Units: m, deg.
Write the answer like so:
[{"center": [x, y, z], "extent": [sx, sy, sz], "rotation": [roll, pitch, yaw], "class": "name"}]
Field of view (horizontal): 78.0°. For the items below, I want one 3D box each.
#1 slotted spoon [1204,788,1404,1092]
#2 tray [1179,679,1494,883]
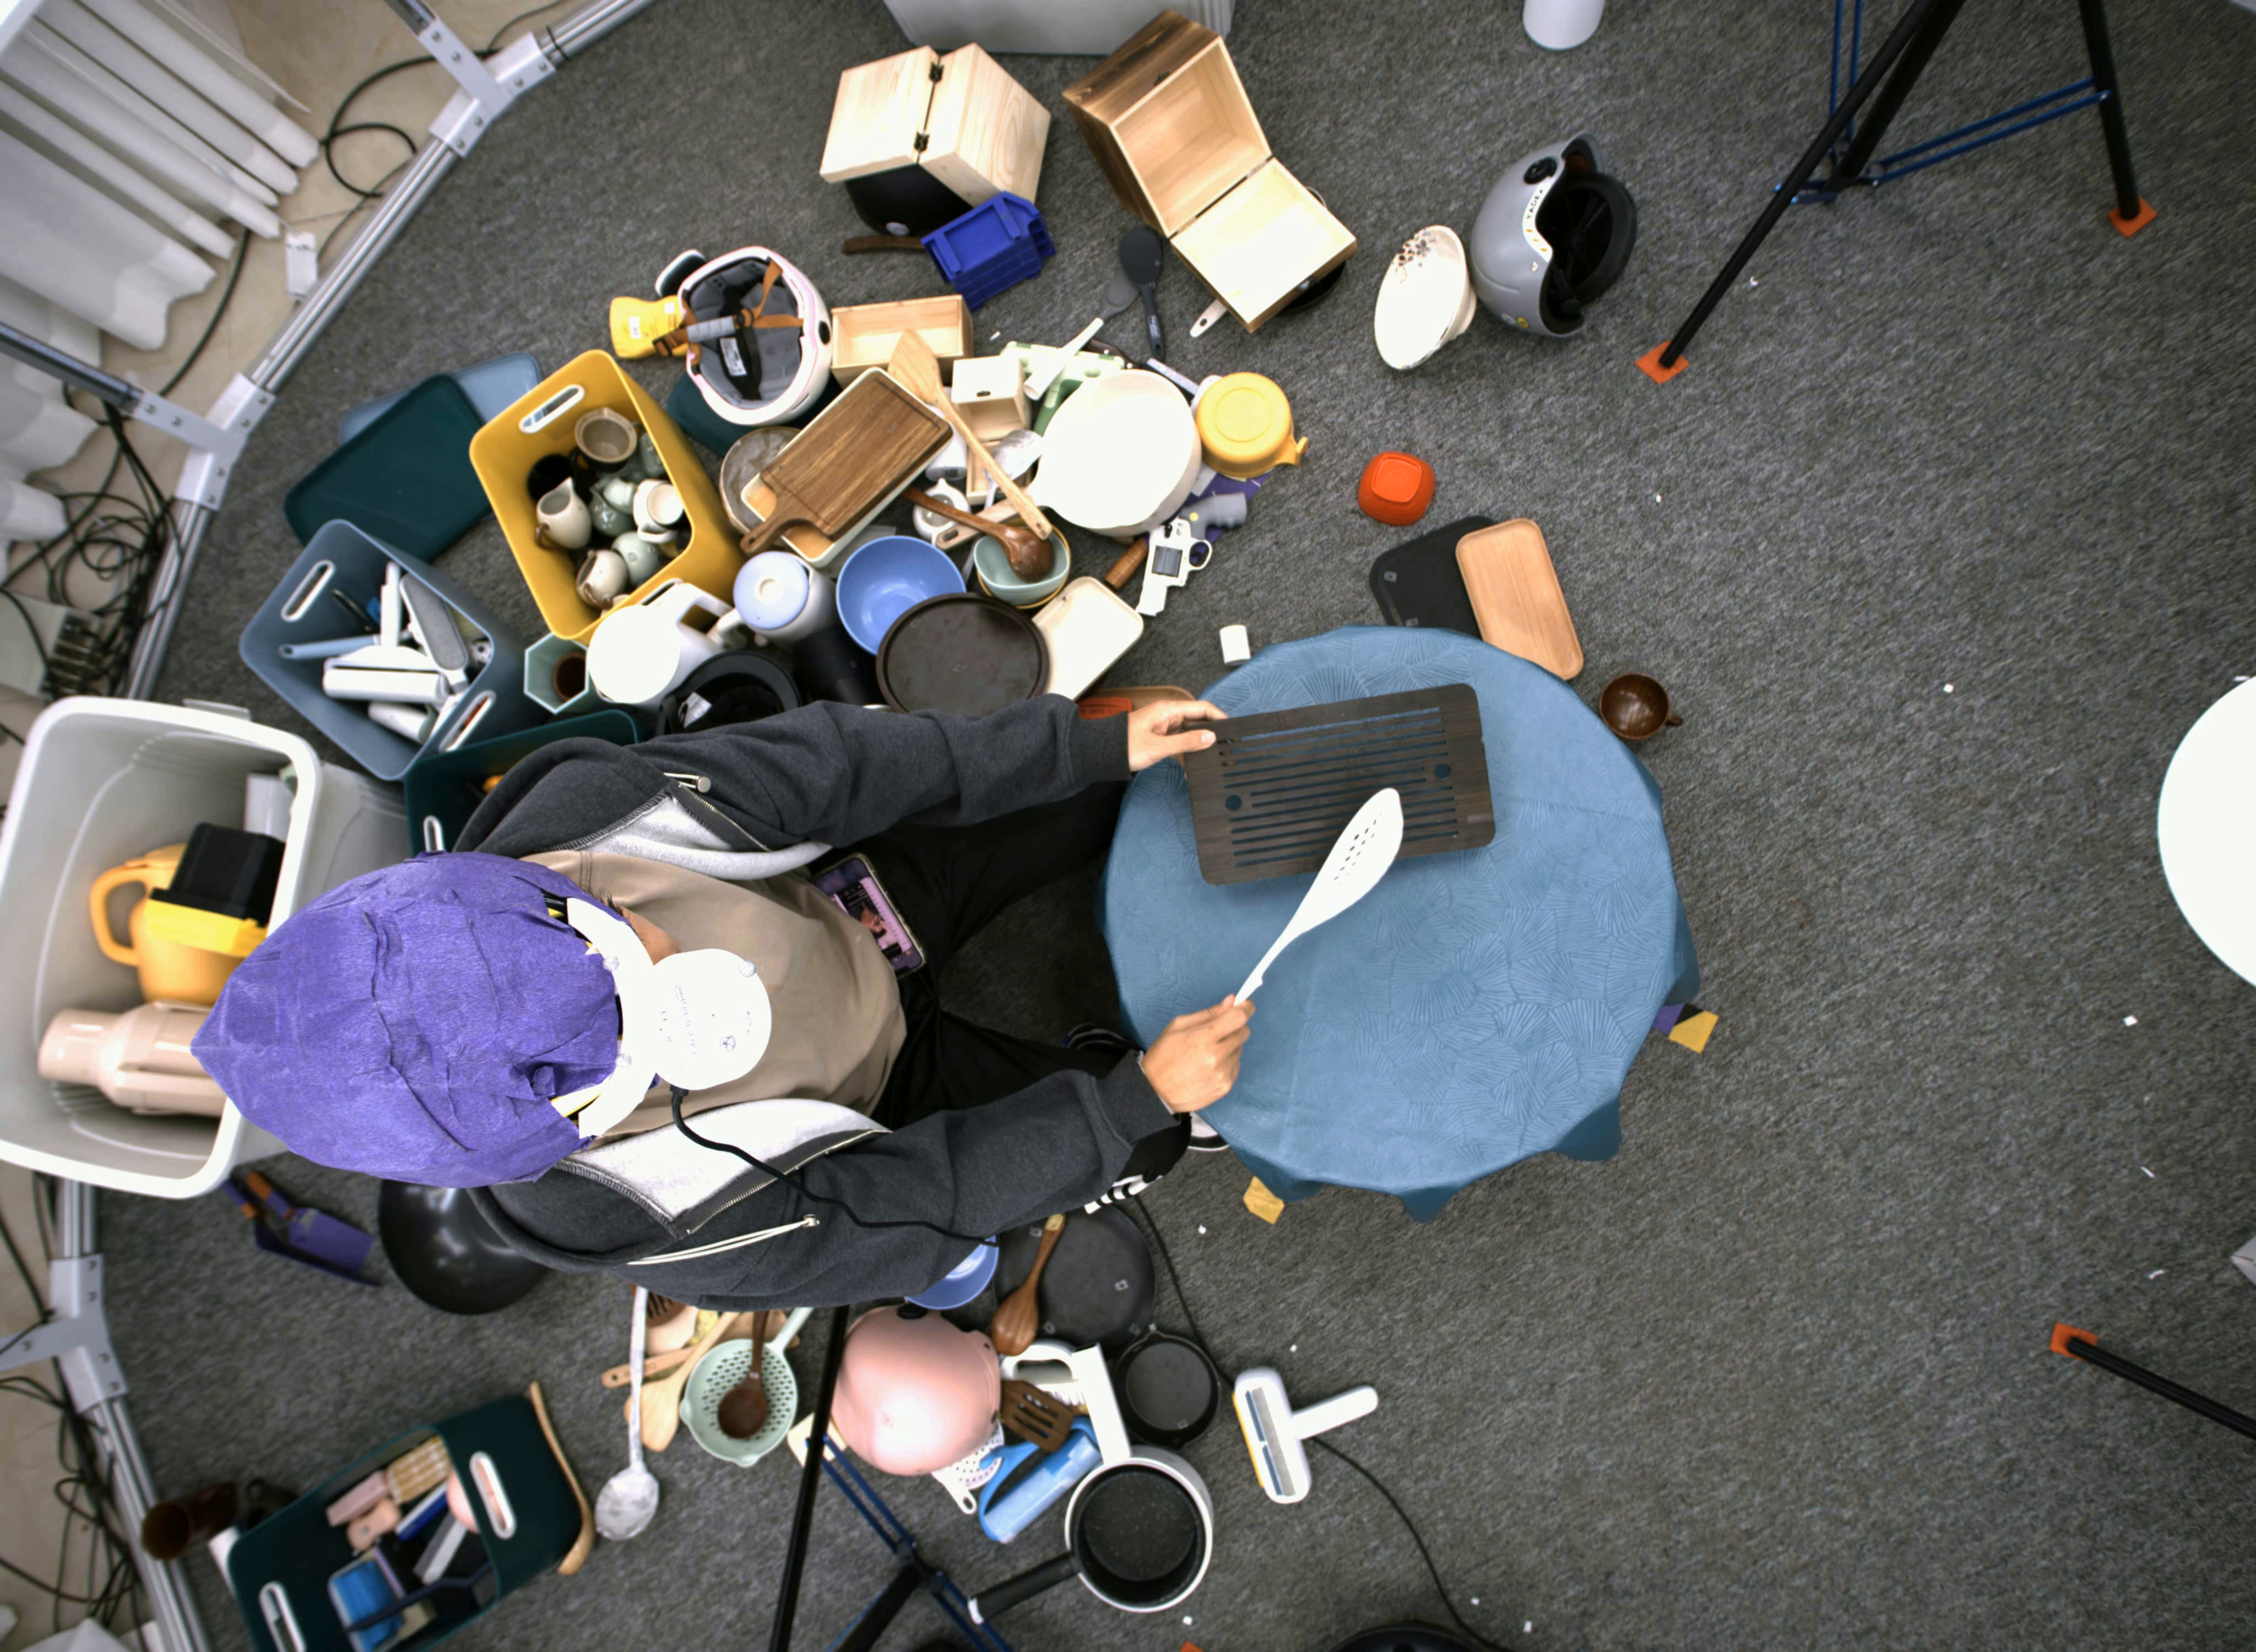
[{"center": [0.164, 0.113, 1.340], "extent": [0.050, 0.135, 0.352], "rotation": [36, 104, -8], "class": "slotted spoon"}, {"center": [0.213, -0.047, 1.412], "extent": [0.307, 0.018, 0.170], "rotation": [-9, 95, 4], "class": "tray"}]
